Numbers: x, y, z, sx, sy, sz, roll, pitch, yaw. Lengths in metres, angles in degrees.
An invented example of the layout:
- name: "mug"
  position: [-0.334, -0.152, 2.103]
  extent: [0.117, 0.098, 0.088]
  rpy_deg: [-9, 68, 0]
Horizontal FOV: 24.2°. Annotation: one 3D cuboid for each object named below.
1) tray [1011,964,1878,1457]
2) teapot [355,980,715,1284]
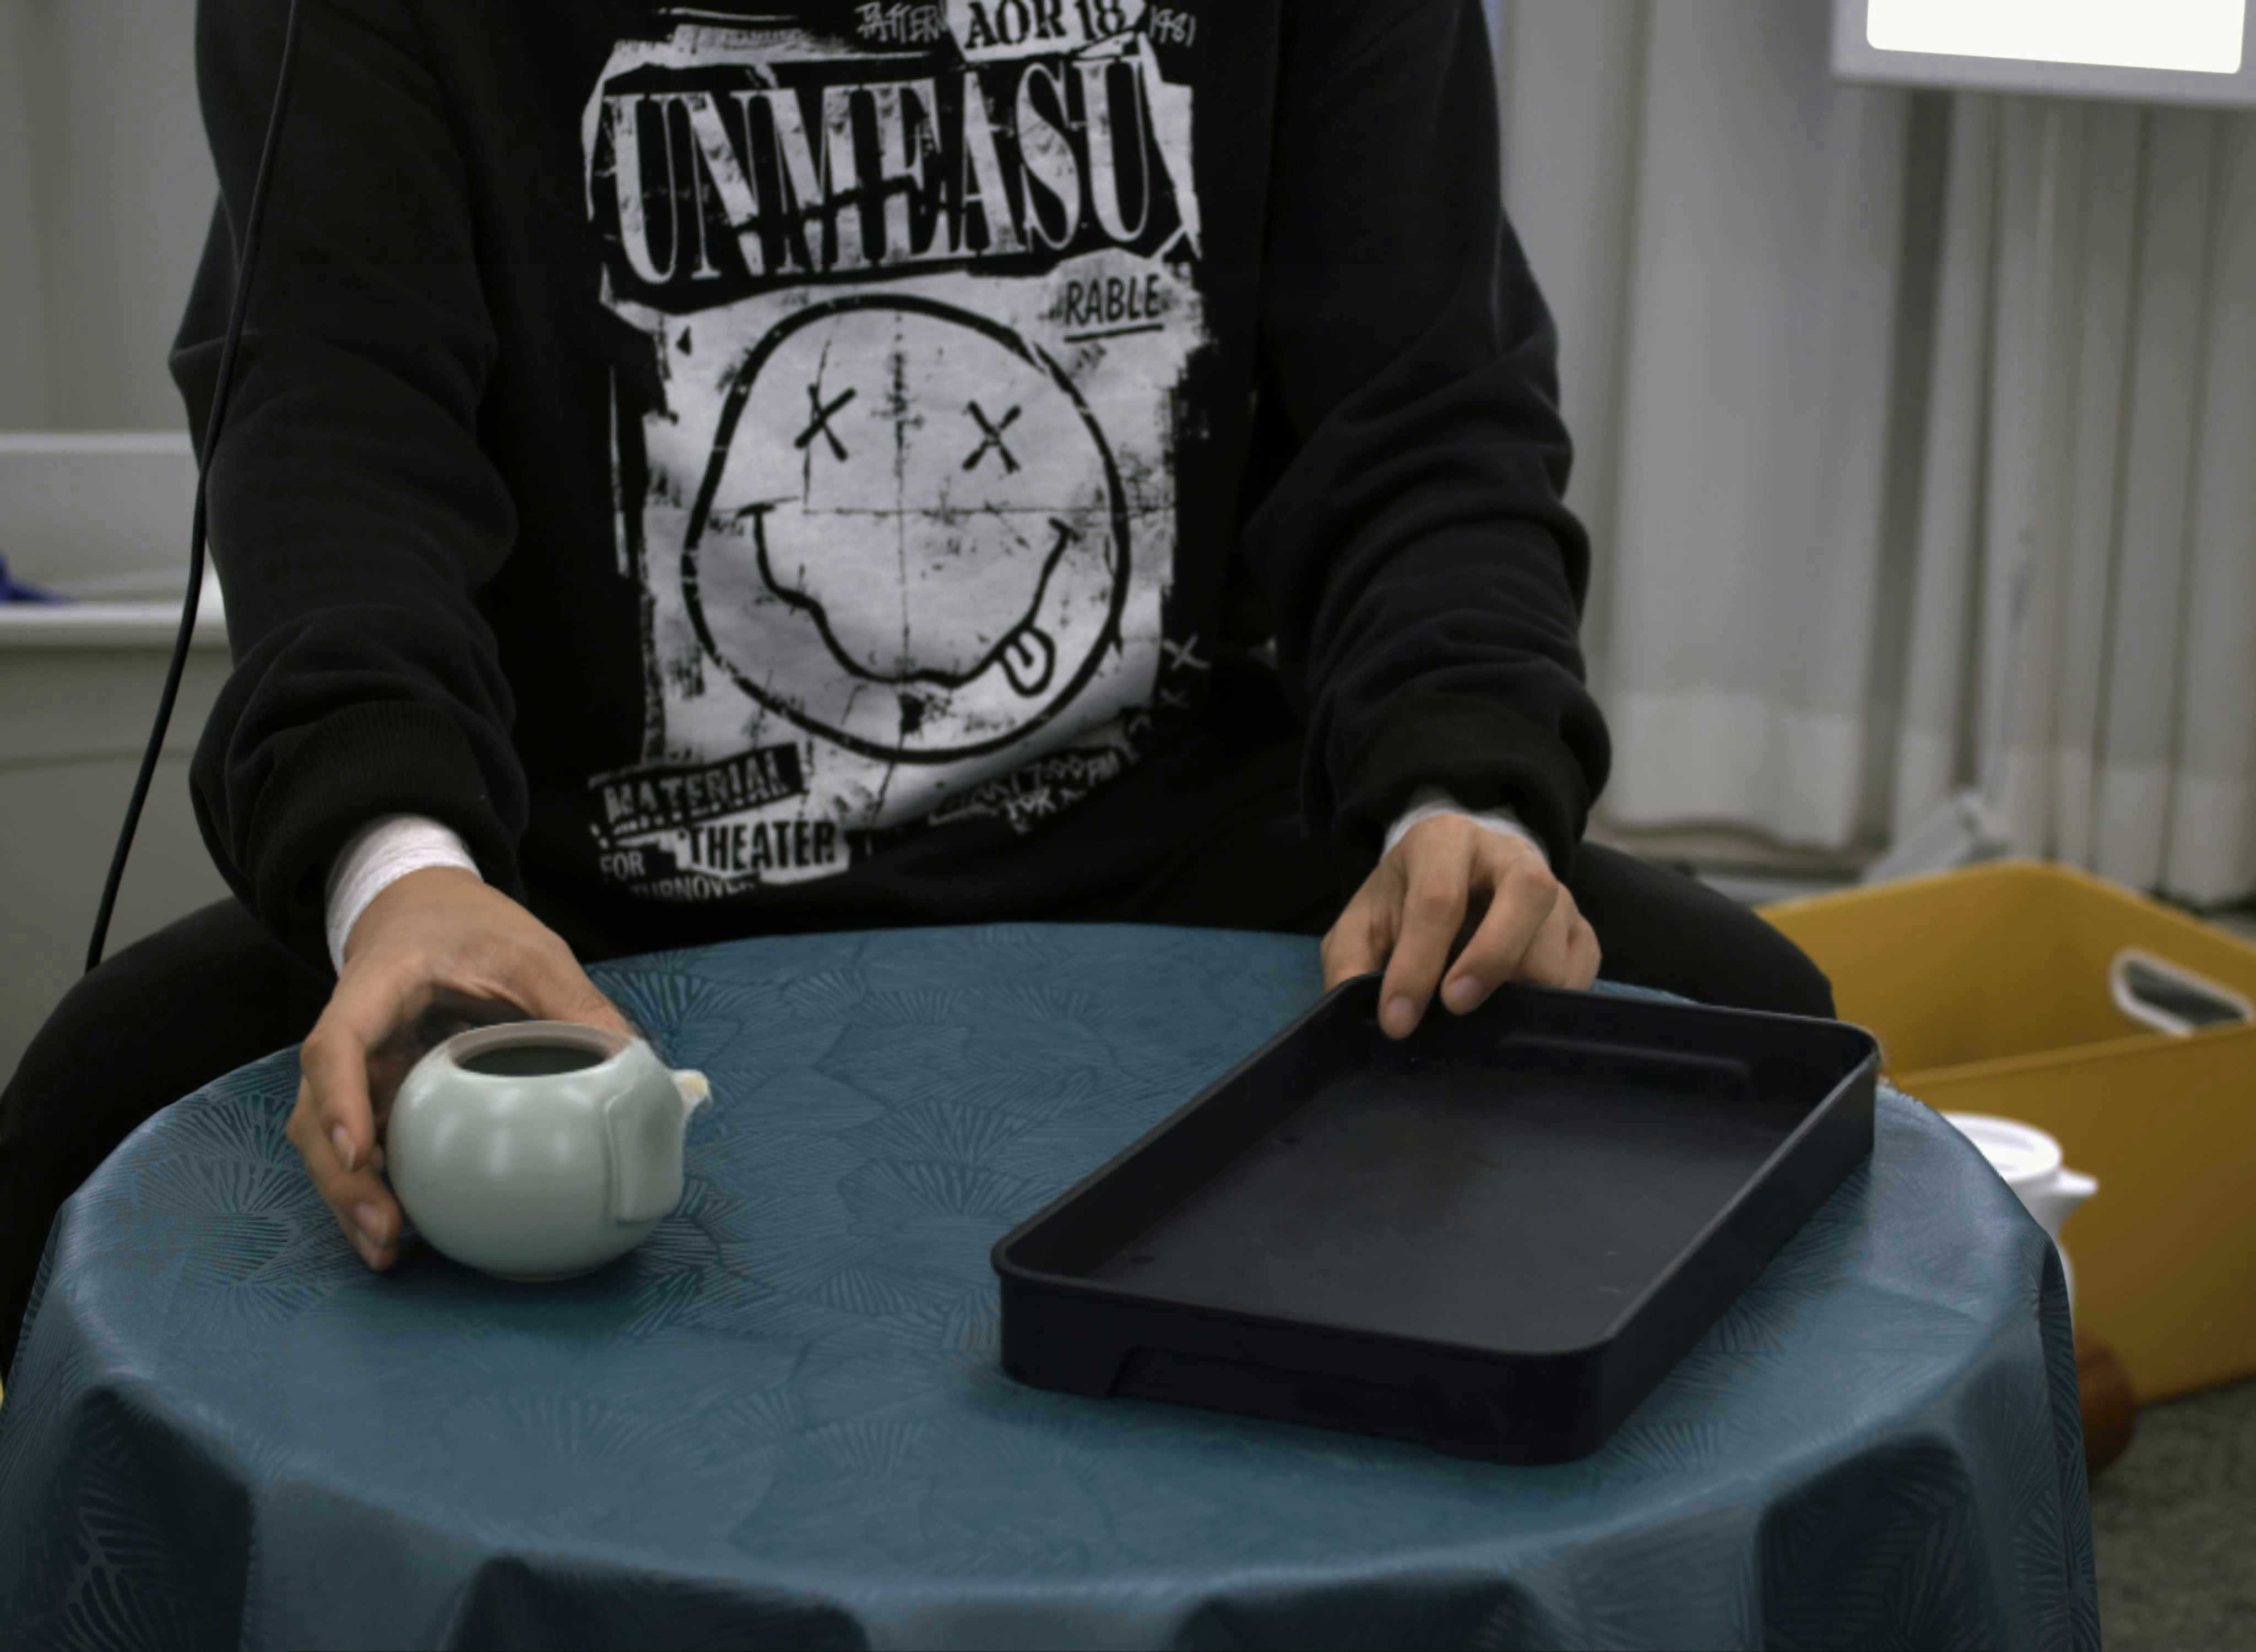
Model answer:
- name: "tray"
  position: [0.103, 0.108, 1.575]
  extent: [0.182, 0.037, 0.318]
  rpy_deg: [6, 17, 20]
- name: "teapot"
  position: [-0.175, 0.093, 1.550]
  extent: [0.142, 0.075, 0.089]
  rpy_deg: [15, 21, 38]
